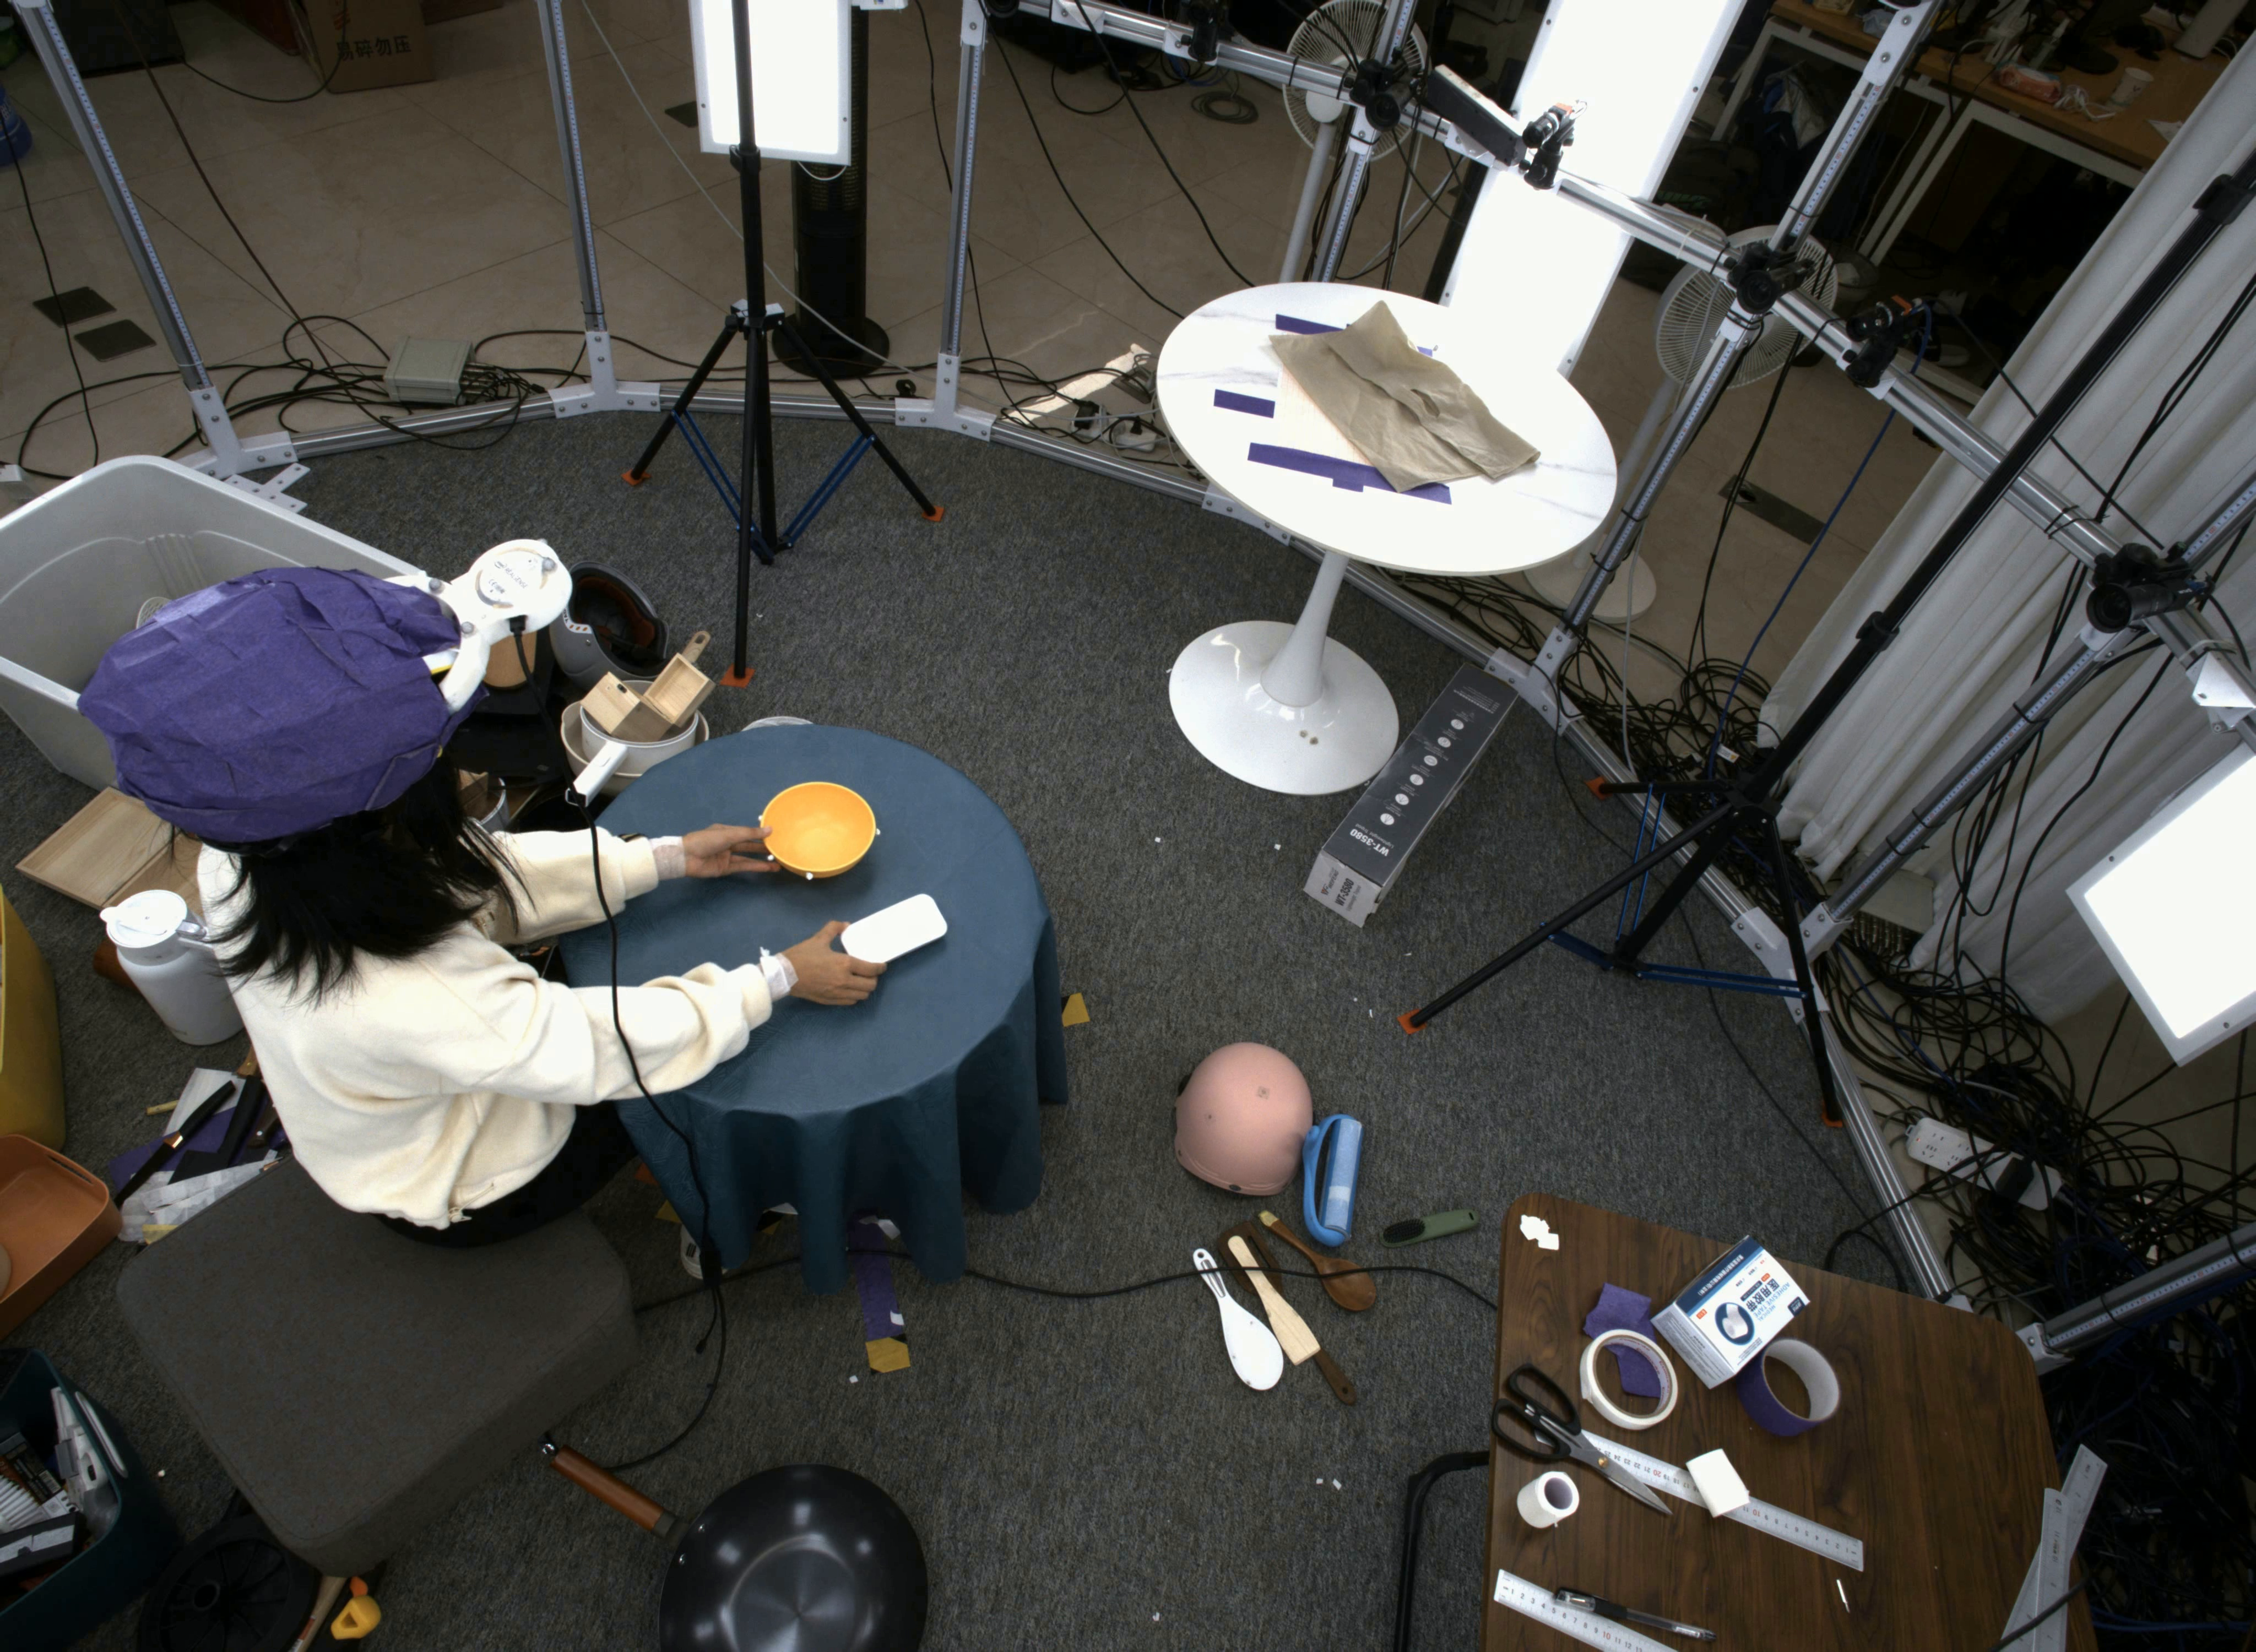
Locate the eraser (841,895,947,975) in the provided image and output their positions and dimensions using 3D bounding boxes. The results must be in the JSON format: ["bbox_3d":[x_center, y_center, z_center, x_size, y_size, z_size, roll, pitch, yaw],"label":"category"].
[{"bbox_3d":[-0.293,0.133,1.626,0.132,0.035,0.063,-25,76,-31],"label":"eraser"}]

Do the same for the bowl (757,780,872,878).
[{"bbox_3d":[-0.405,0.014,1.676,0.145,0.061,0.143,9,51,-10],"label":"bowl"}]
